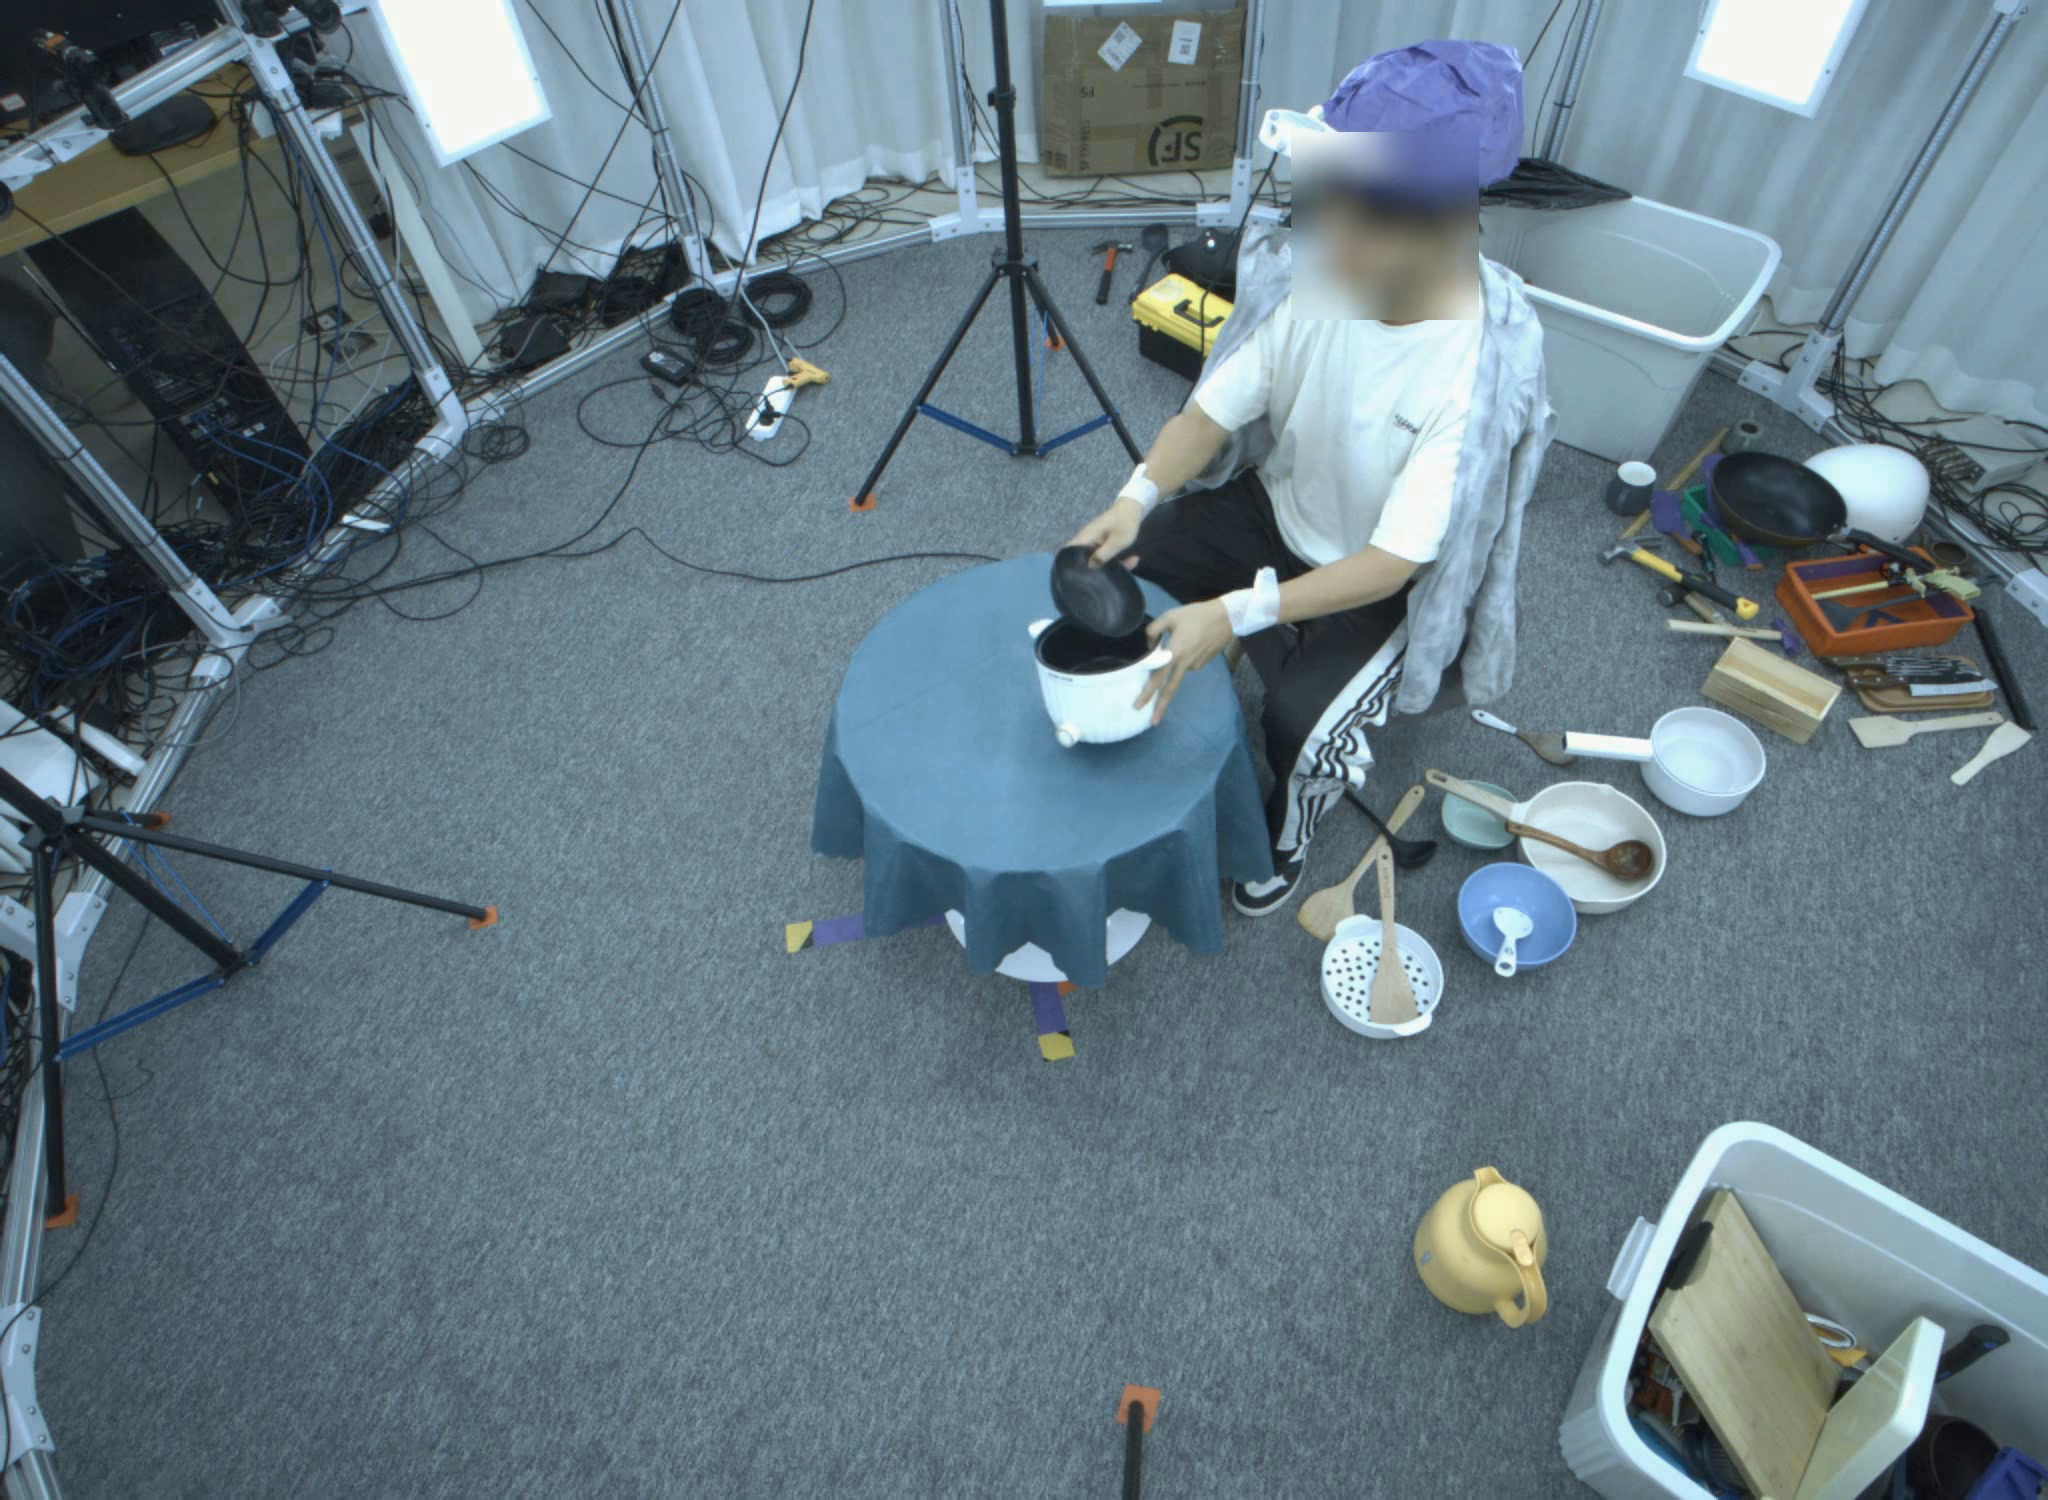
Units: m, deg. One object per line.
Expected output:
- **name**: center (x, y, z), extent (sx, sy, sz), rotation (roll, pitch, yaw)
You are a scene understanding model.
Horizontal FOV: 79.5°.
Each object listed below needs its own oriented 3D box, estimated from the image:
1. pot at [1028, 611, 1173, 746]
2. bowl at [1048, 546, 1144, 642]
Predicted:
- **pot**: center (0.110, -0.099, 1.746), extent (0.235, 0.144, 0.192), rotation (18, 41, 35)
- **bowl**: center (0.087, -0.207, 1.688), extent (0.140, 0.066, 0.168), rotation (5, 54, -28)
